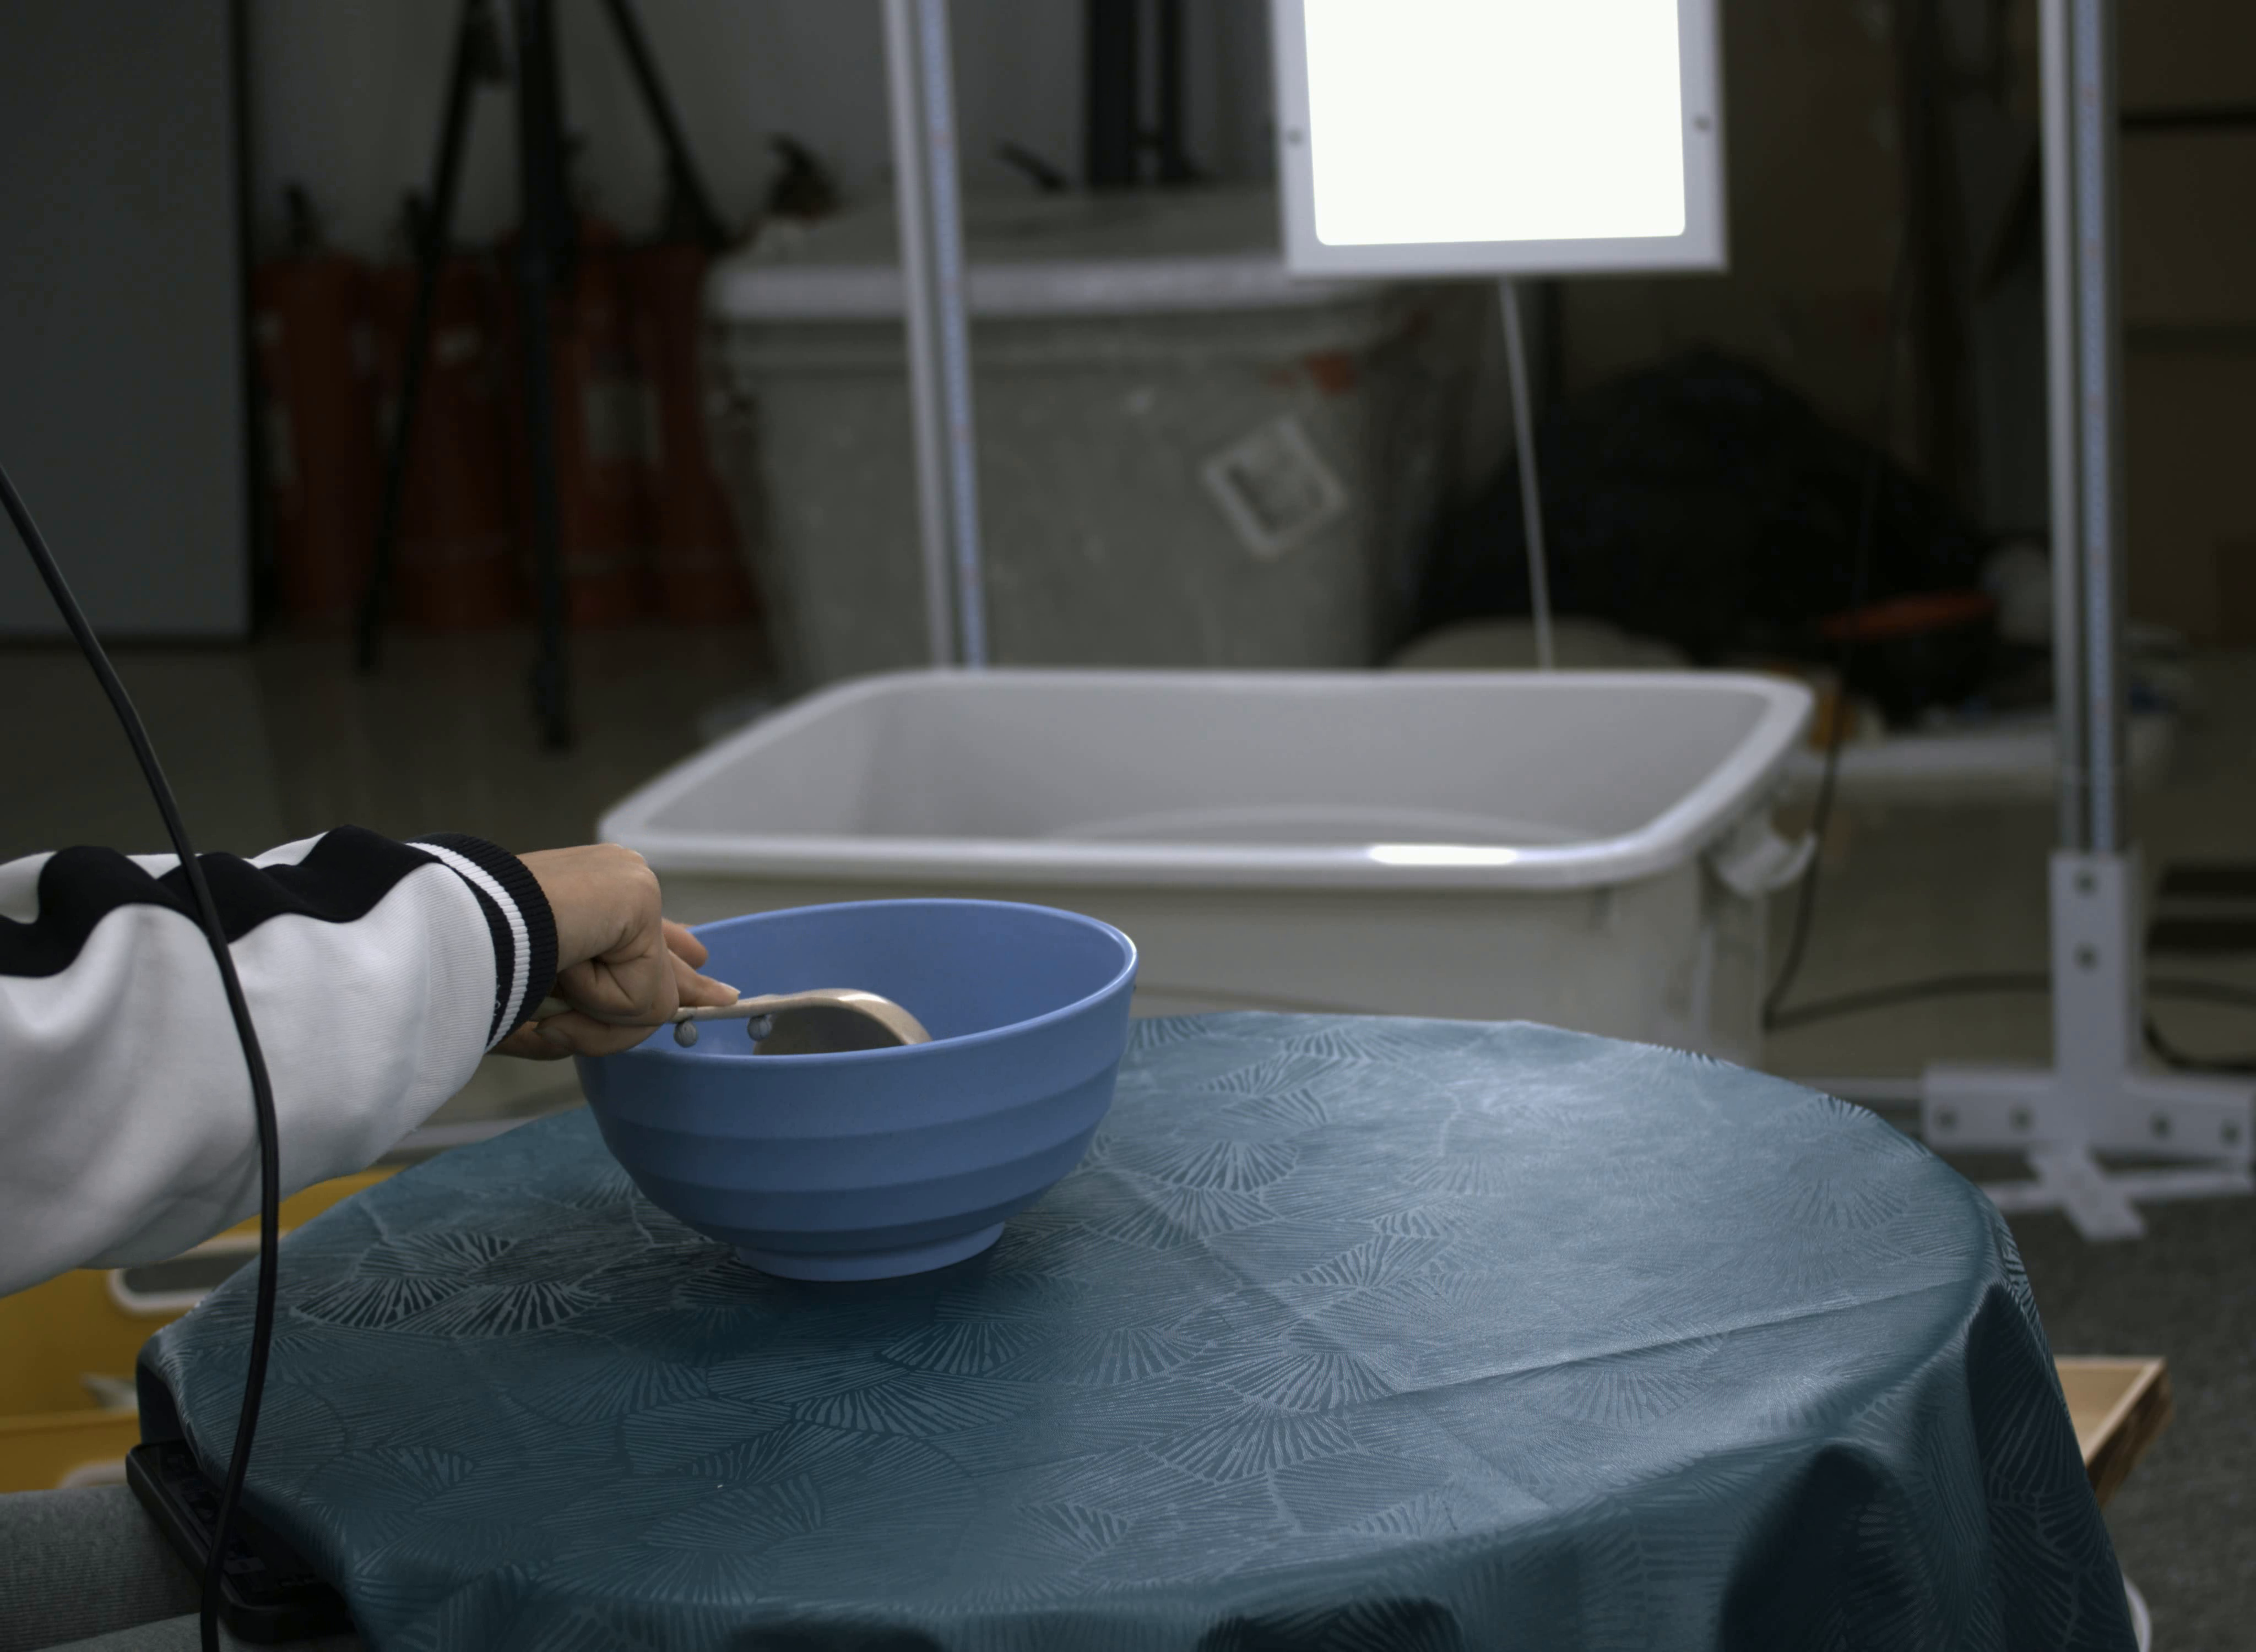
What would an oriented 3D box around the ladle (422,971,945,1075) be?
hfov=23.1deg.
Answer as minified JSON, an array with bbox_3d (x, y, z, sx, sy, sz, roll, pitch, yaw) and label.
[{"bbox_3d":[-0.147,0.086,1.792,0.073,0.073,0.248,3,-1,34],"label":"ladle"}]

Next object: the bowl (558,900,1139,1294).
[{"bbox_3d":[-0.091,0.098,1.863,0.196,0.096,0.196,-5,15,0],"label":"bowl"}]
